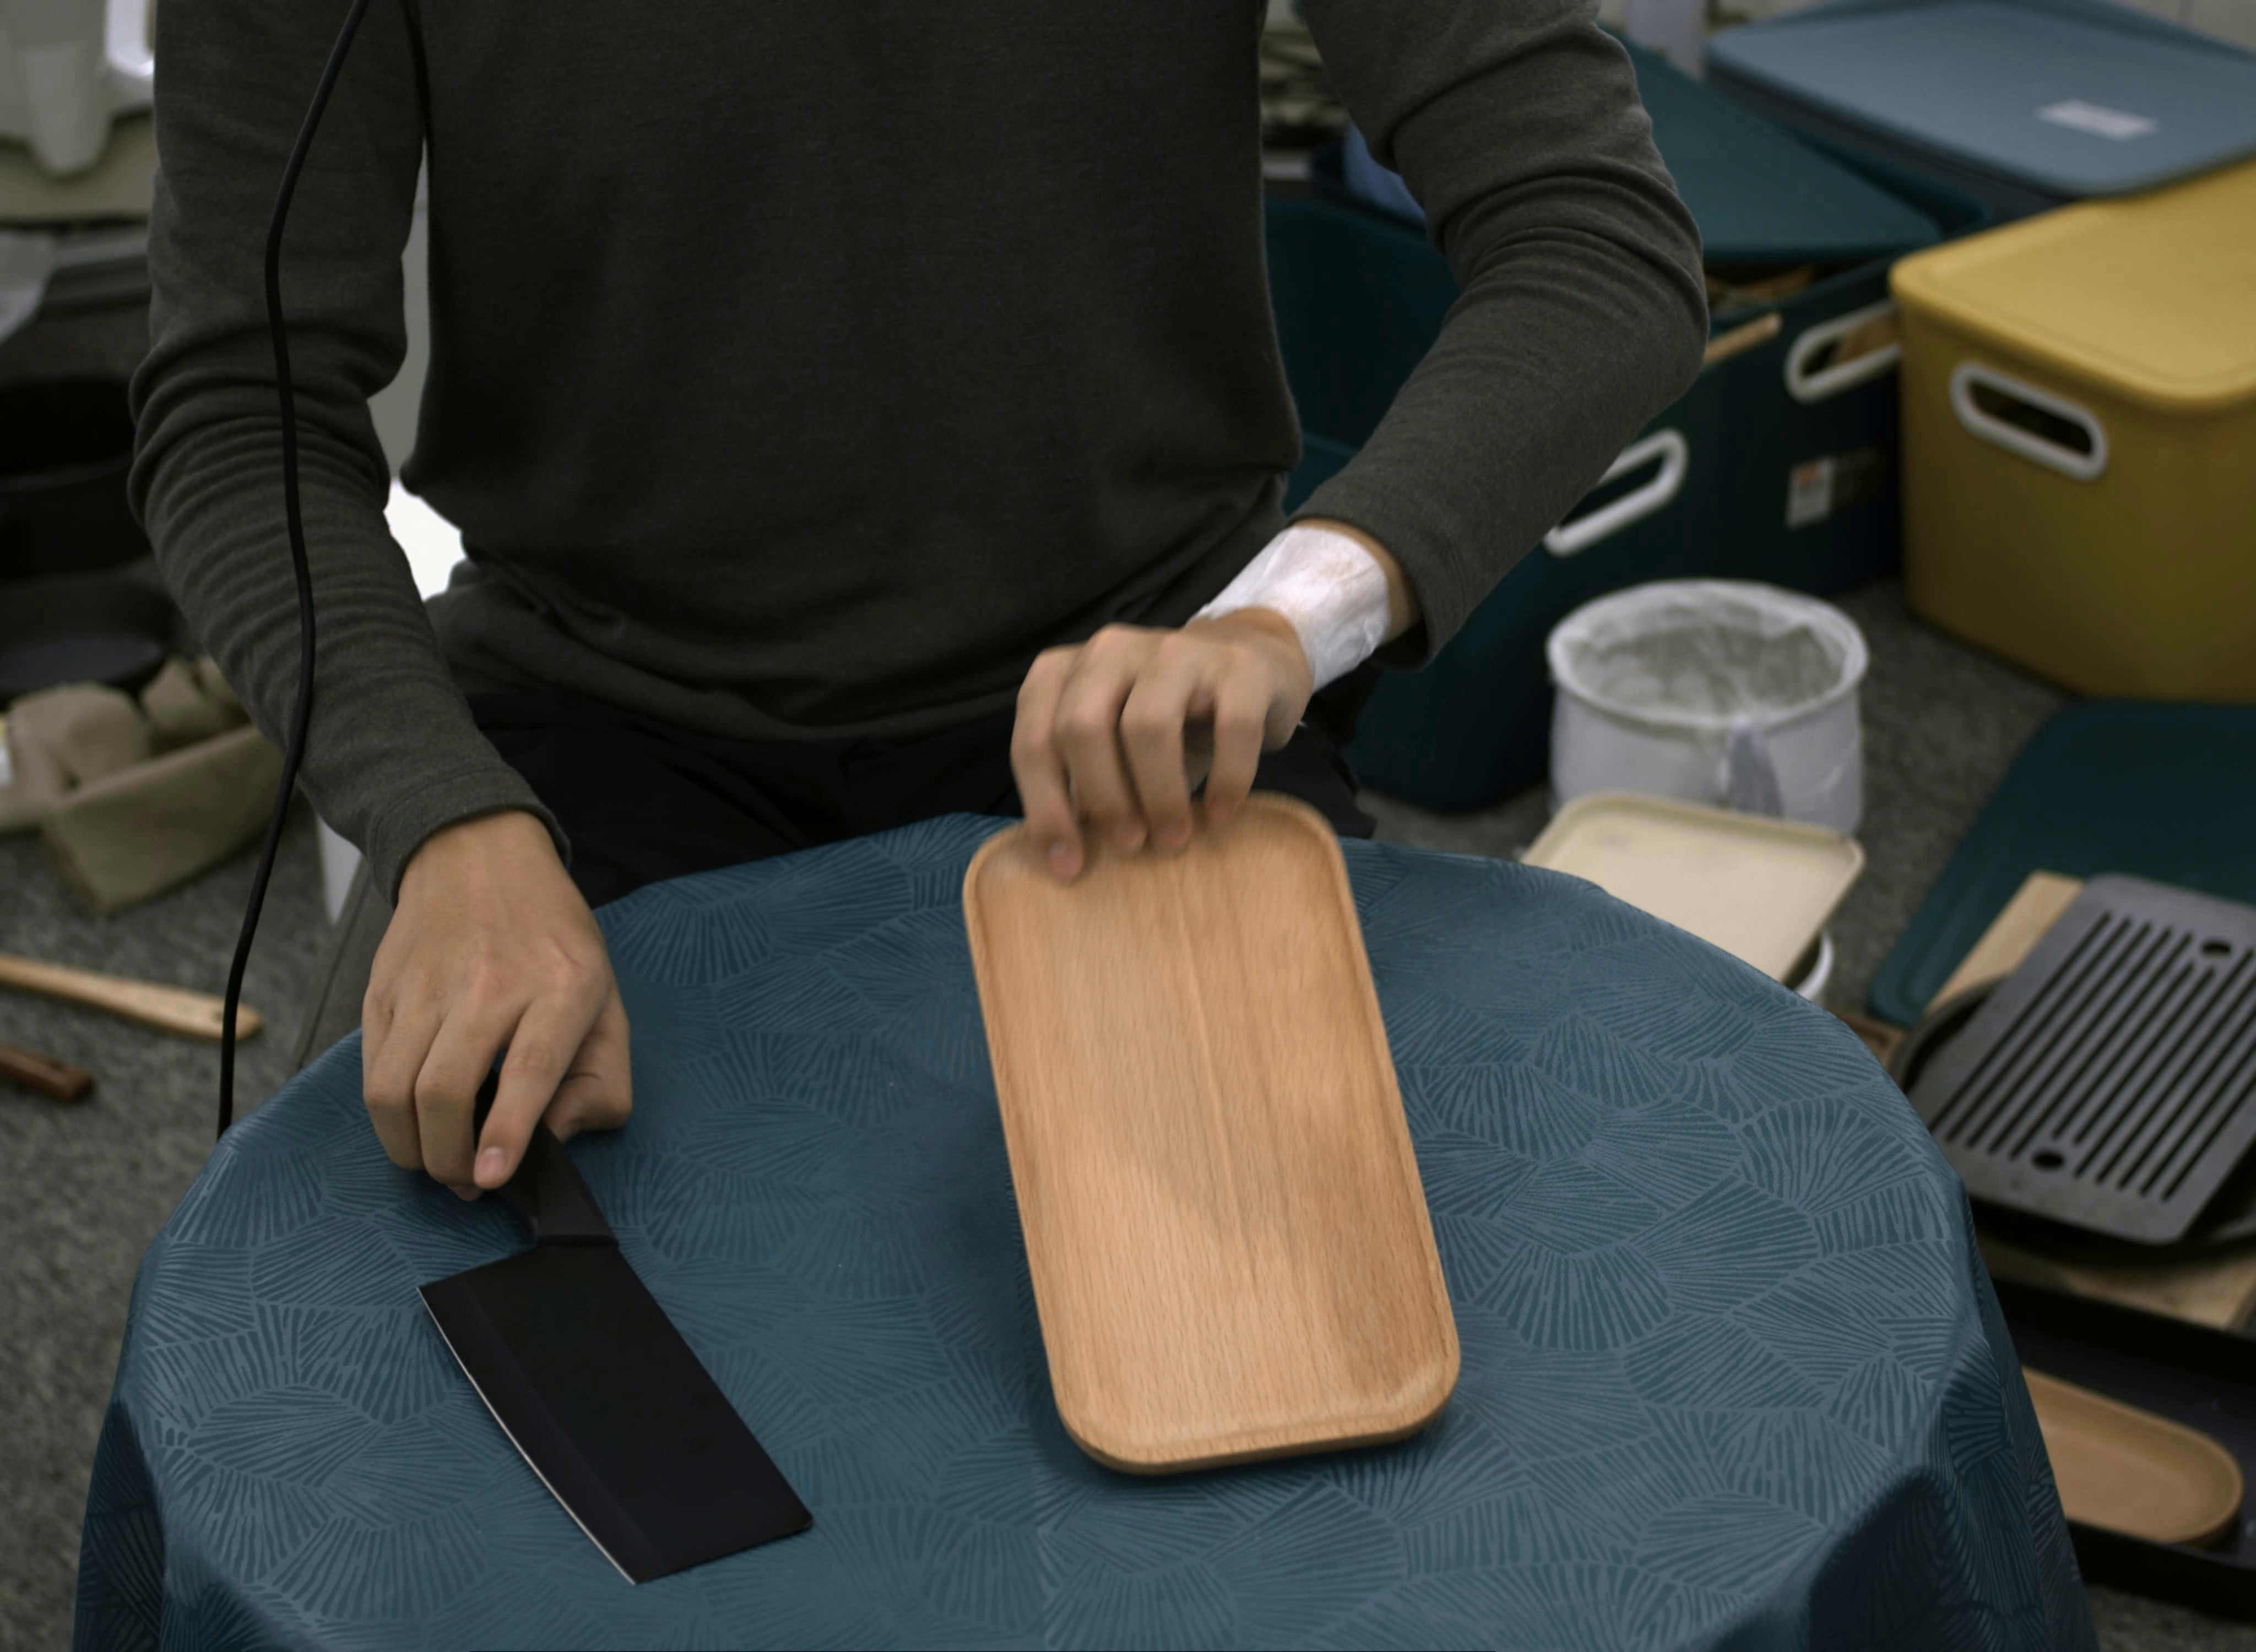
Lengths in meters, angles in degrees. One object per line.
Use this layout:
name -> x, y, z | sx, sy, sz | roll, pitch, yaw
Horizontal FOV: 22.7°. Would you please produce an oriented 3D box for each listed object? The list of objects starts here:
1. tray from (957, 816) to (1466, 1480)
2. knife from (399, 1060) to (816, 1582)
tray -> 0.023, 0.099, 1.788 | 0.130, 0.022, 0.255 | -4, 48, -9
knife -> -0.182, 0.154, 1.800 | 0.081, 0.020, 0.305 | -13, 31, -17
